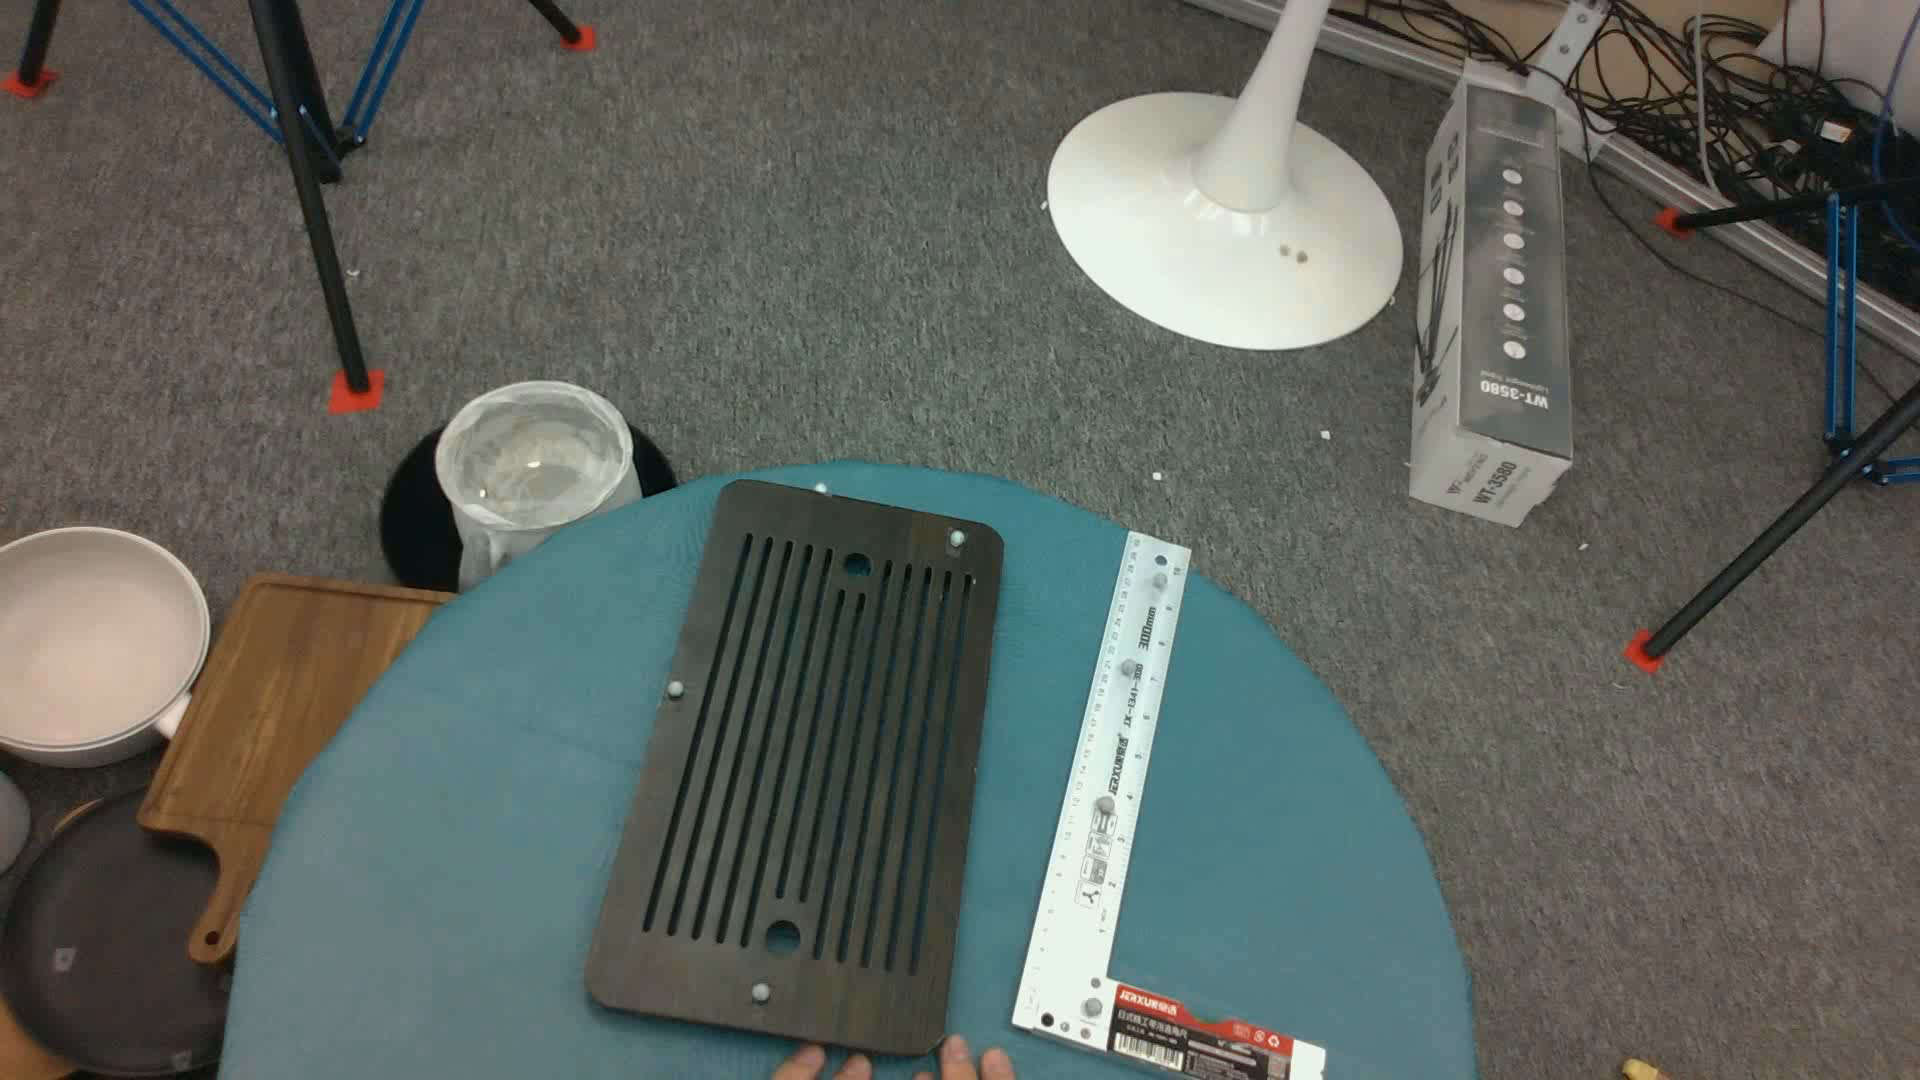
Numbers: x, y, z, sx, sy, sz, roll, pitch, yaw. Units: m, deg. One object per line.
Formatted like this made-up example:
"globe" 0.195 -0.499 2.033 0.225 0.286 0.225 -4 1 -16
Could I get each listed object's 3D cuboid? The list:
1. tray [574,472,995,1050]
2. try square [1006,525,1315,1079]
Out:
"tray" -0.079 0.101 0.723 0.170 0.018 0.307 11 55 -4
"try square" 0.131 0.134 0.748 0.152 0.016 0.314 18 54 0
